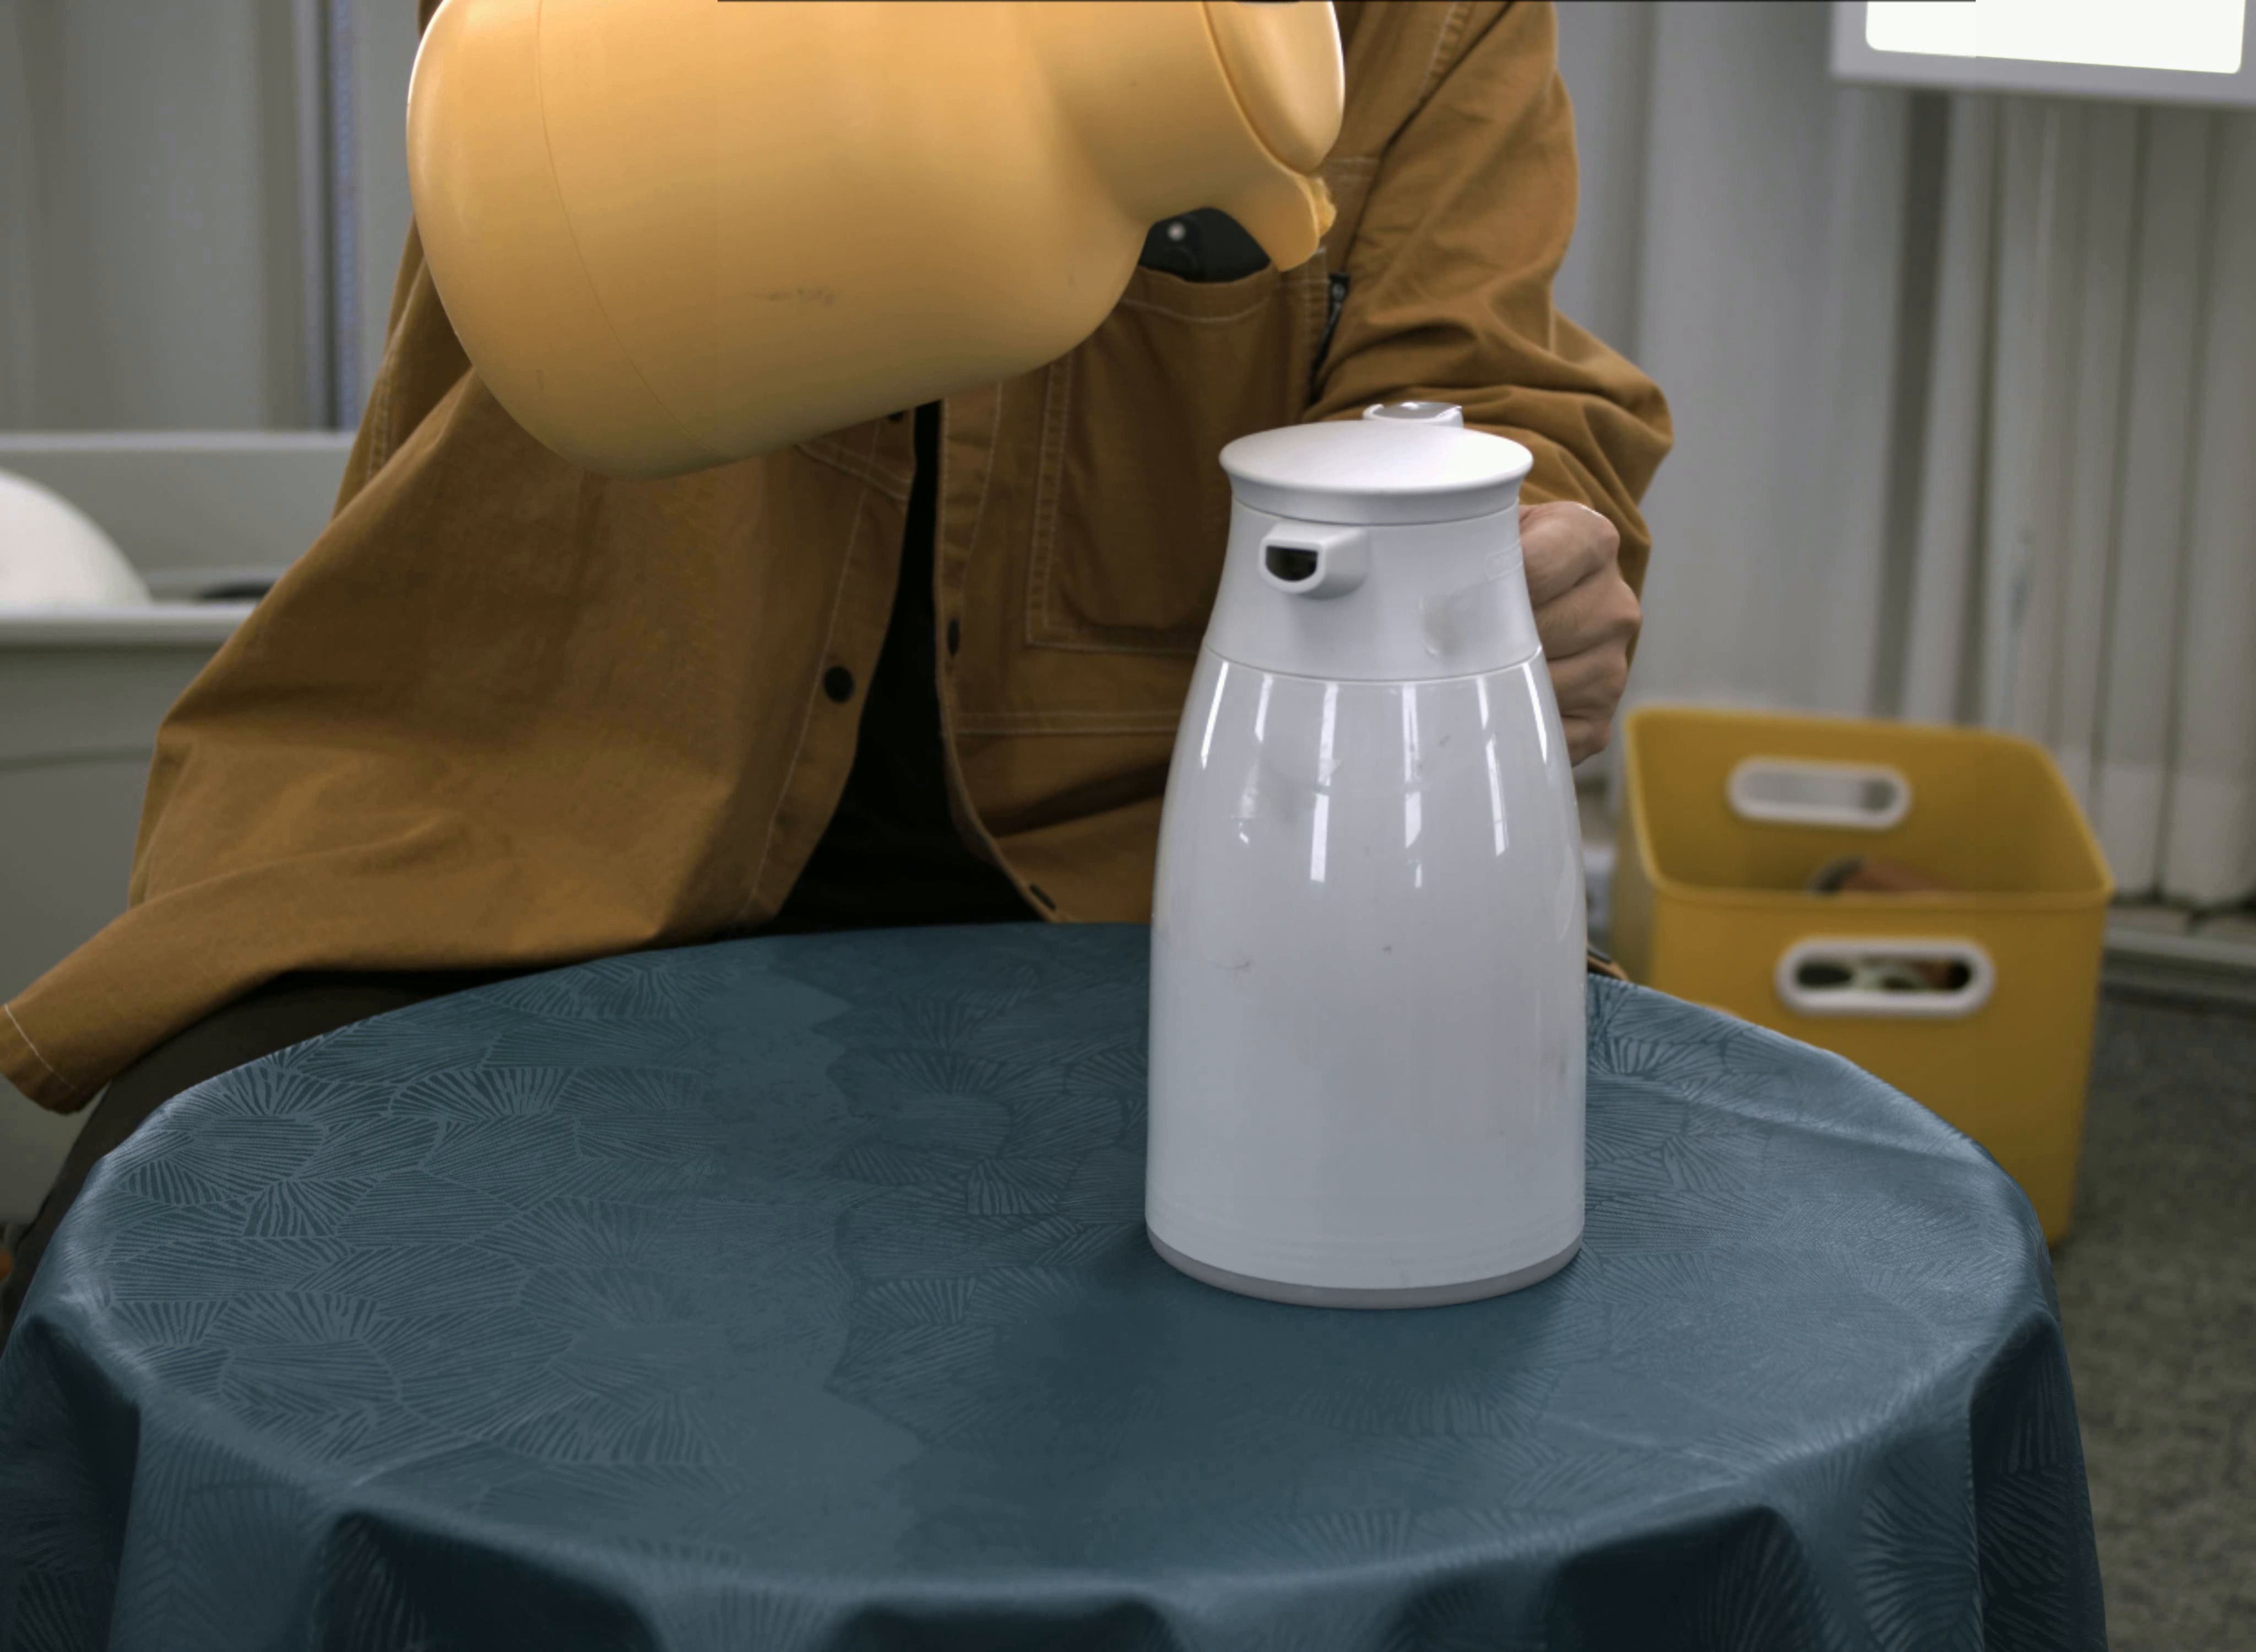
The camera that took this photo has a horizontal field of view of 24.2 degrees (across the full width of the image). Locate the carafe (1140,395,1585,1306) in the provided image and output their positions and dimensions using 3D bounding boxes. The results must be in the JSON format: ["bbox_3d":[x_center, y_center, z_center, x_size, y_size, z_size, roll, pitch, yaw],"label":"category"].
[{"bbox_3d":[0.078,-0.002,1.569,0.131,0.250,0.168,7,17,22],"label":"carafe"}]

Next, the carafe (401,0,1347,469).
[{"bbox_3d":[-0.074,-0.224,1.505,0.259,0.204,0.163,-14,18,17],"label":"carafe"}]
